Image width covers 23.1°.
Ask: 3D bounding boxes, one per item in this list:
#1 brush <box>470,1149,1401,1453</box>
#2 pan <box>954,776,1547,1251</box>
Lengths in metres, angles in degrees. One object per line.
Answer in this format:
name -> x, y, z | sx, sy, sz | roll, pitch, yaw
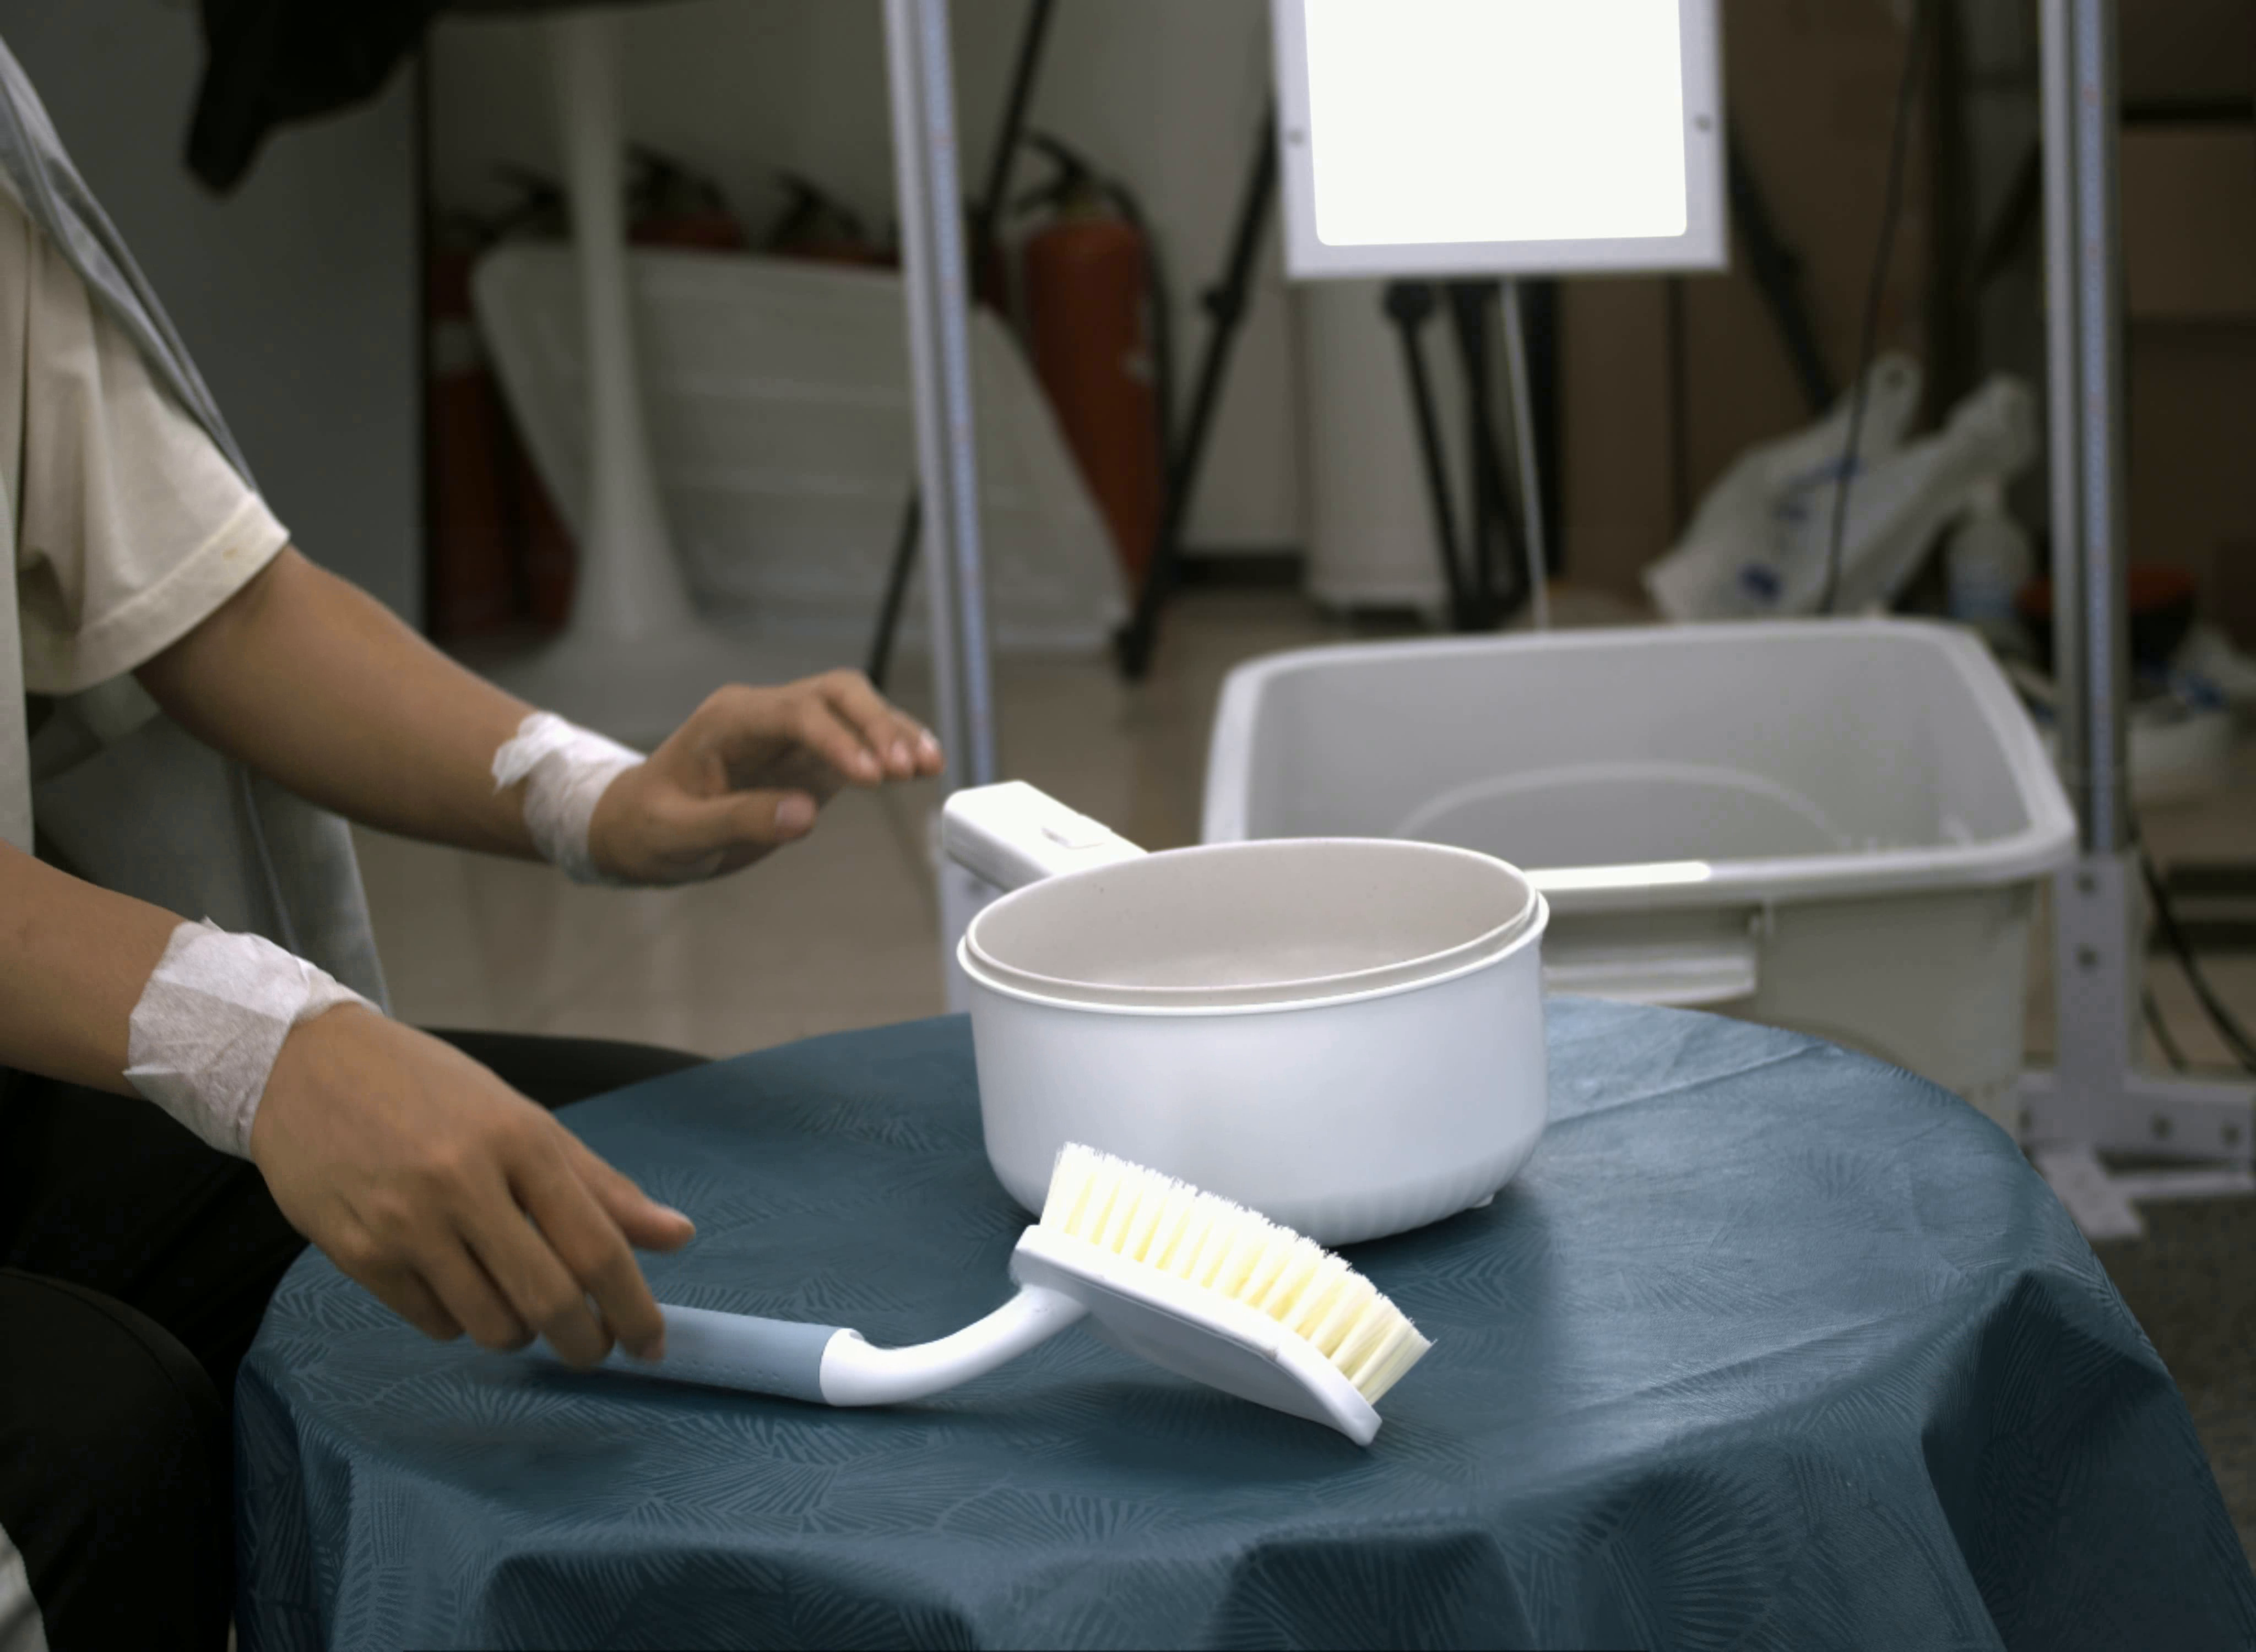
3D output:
brush -> -0.062, 0.134, 1.711 | 0.331, 0.083, 0.082 | 5, 24, 31
pan -> 0.016, 0.062, 1.942 | 0.198, 0.102, 0.359 | -10, 14, -19
